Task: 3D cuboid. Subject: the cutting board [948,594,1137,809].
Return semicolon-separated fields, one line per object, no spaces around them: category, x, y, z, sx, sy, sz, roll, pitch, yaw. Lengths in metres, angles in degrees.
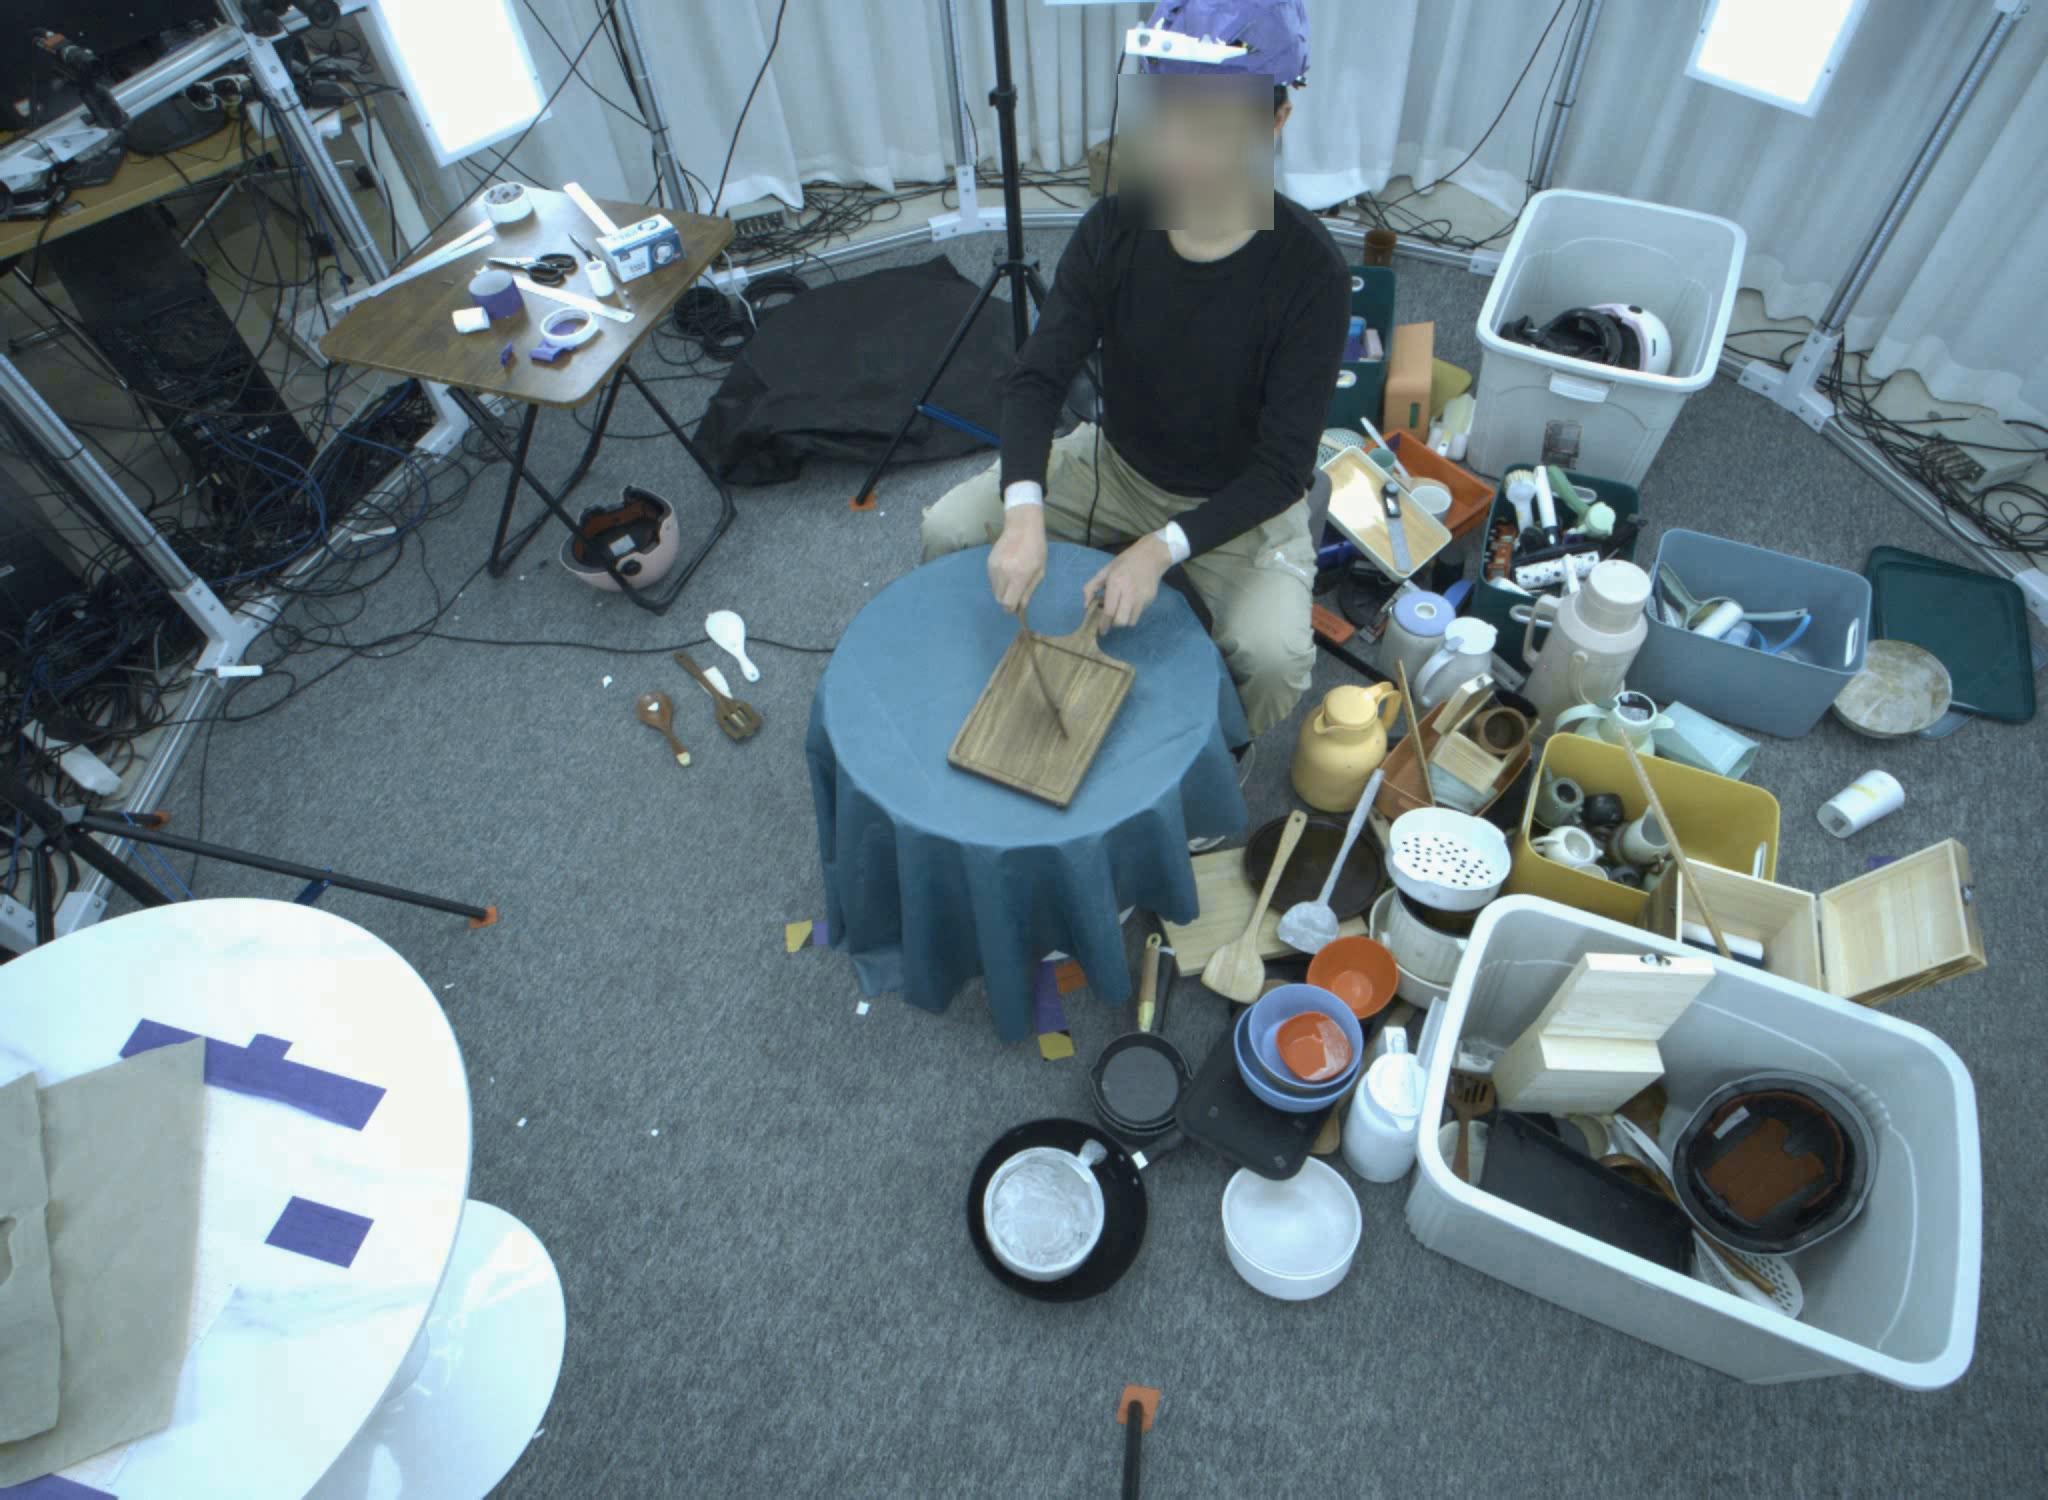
cutting board;0.050;-0.091;1.812;0.198;0.023;0.352;21;65;16

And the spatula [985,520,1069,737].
spatula;0.001;-0.190;1.799;0.016;0.097;0.381;-19;65;0
